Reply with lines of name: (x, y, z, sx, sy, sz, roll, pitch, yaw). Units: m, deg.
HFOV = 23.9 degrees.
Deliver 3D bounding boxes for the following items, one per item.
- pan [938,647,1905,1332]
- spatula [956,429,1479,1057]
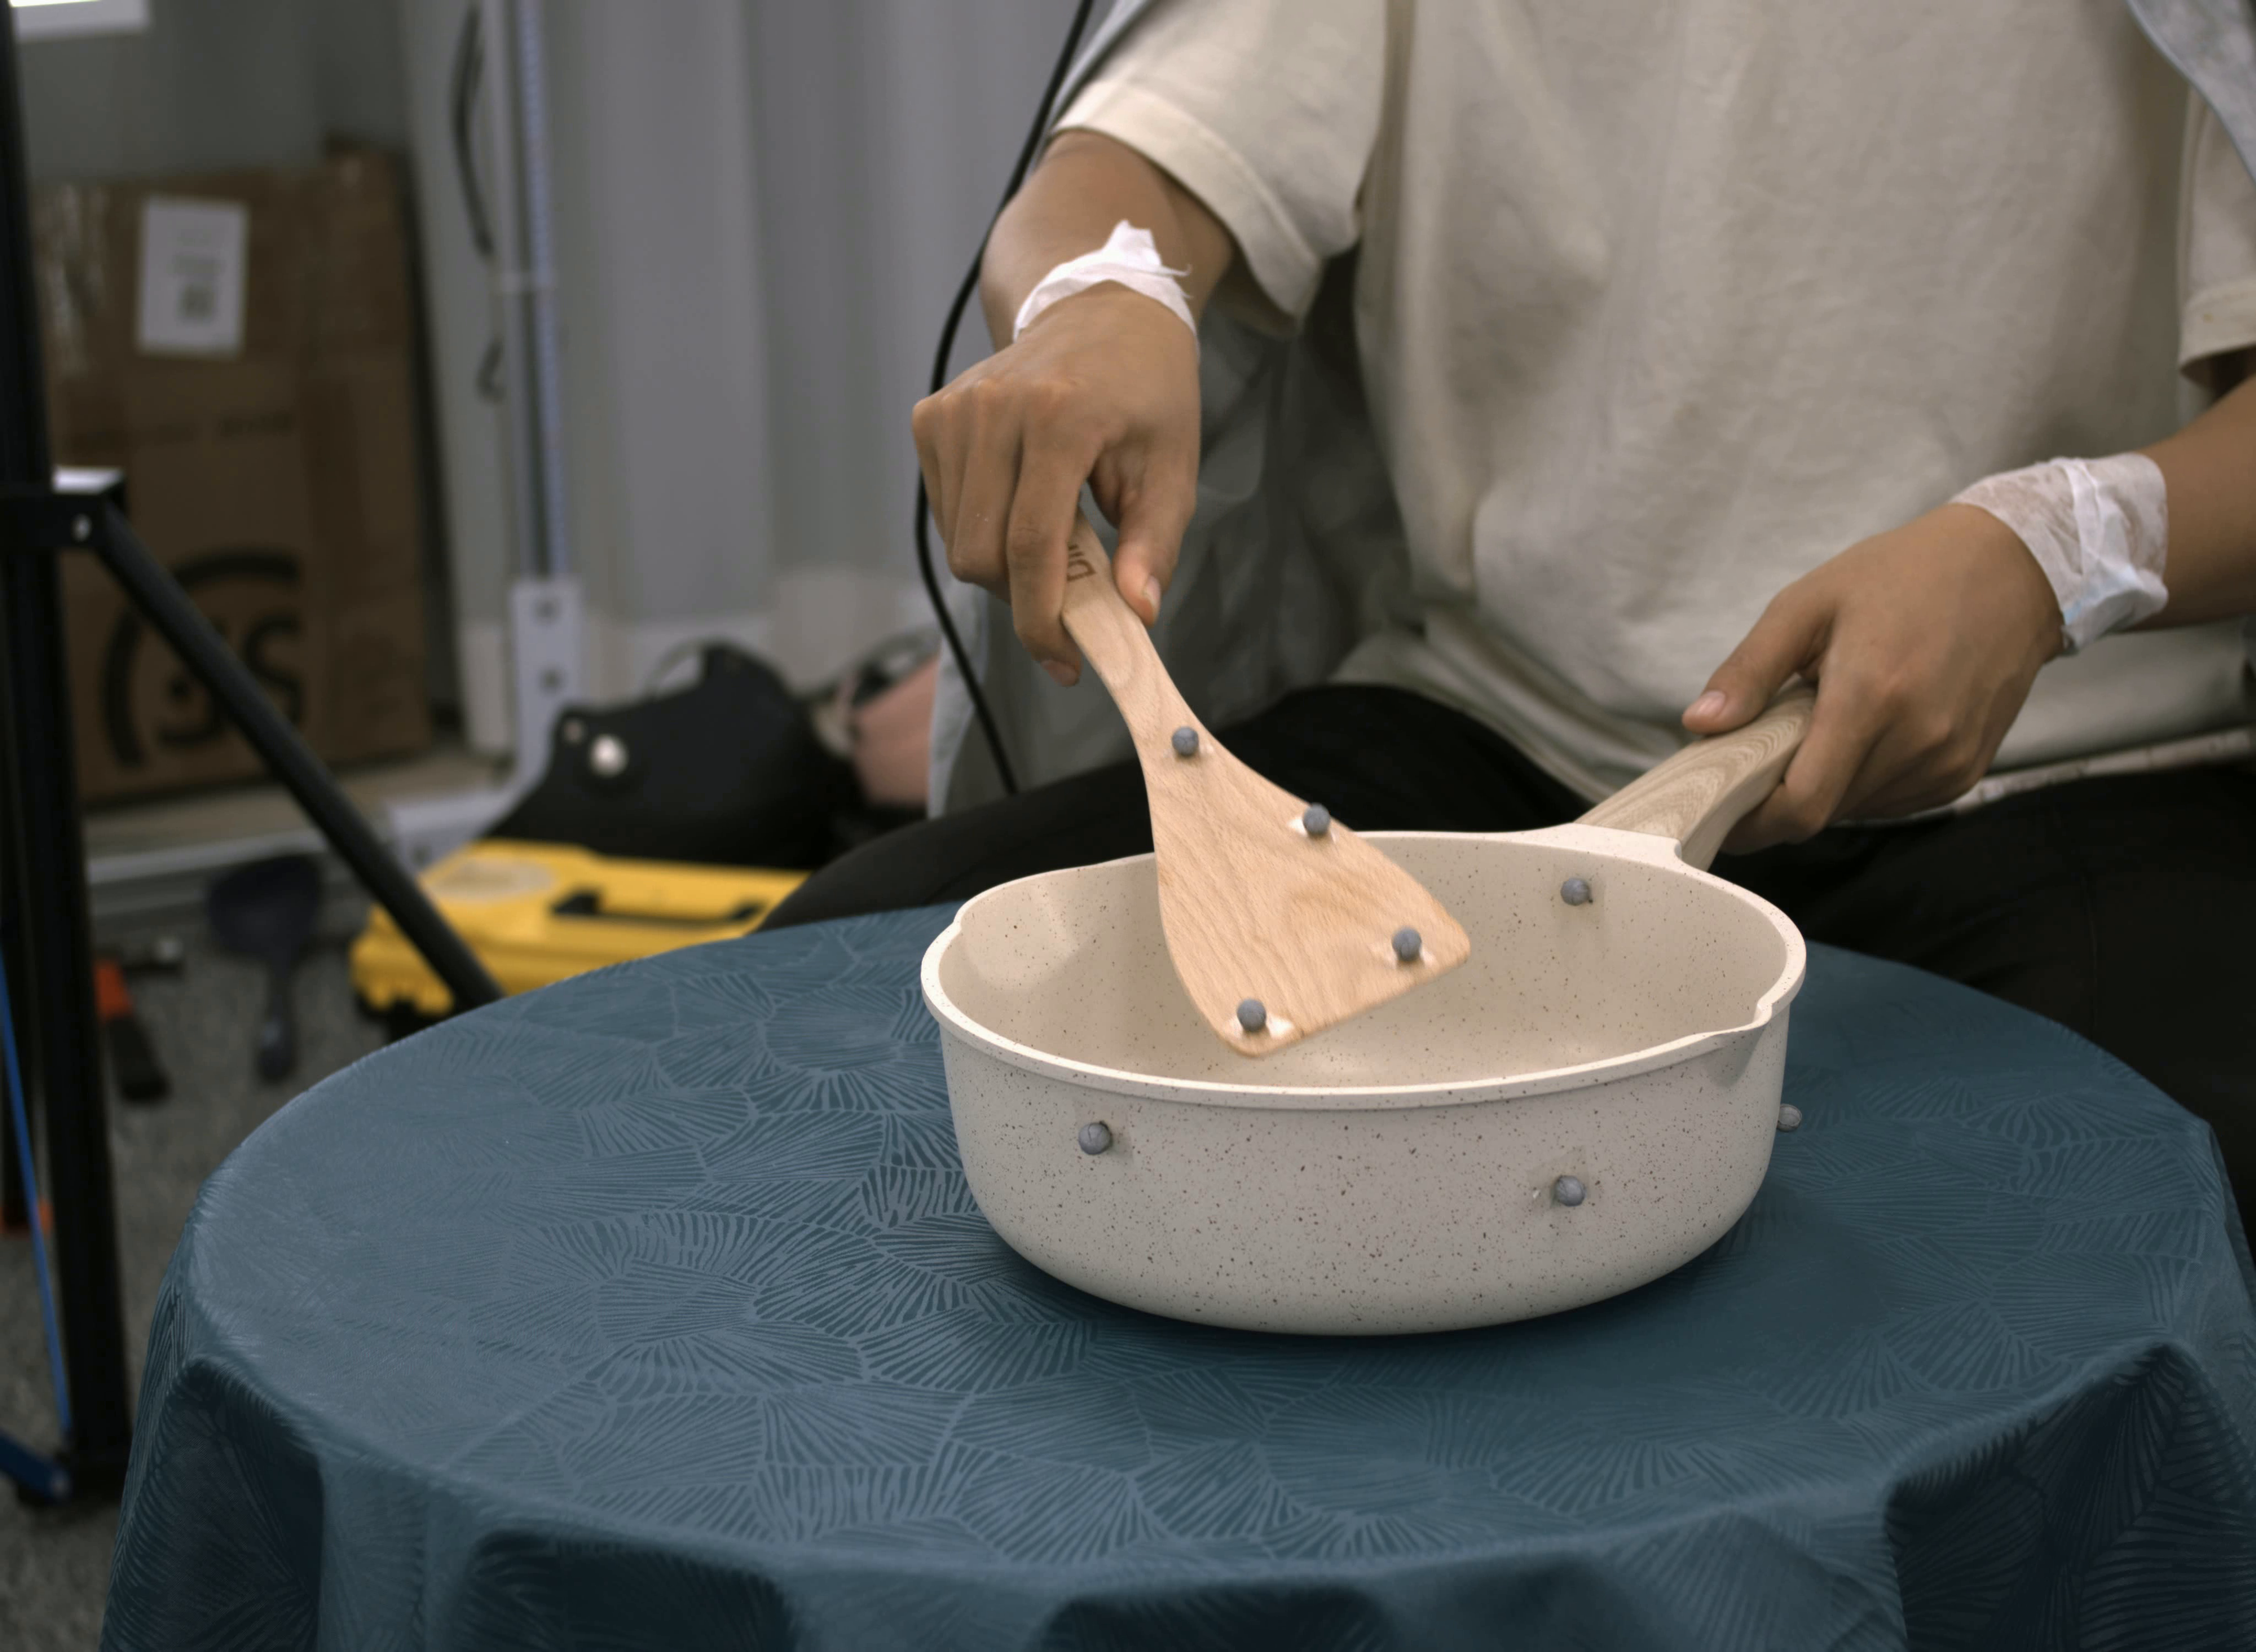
pan: (0.125, 0.044, 1.576, 0.269, 0.102, 0.426, 7, 19, 36)
spatula: (0.012, -0.033, 1.589, 0.079, 0.016, 0.334, -18, 41, -12)
